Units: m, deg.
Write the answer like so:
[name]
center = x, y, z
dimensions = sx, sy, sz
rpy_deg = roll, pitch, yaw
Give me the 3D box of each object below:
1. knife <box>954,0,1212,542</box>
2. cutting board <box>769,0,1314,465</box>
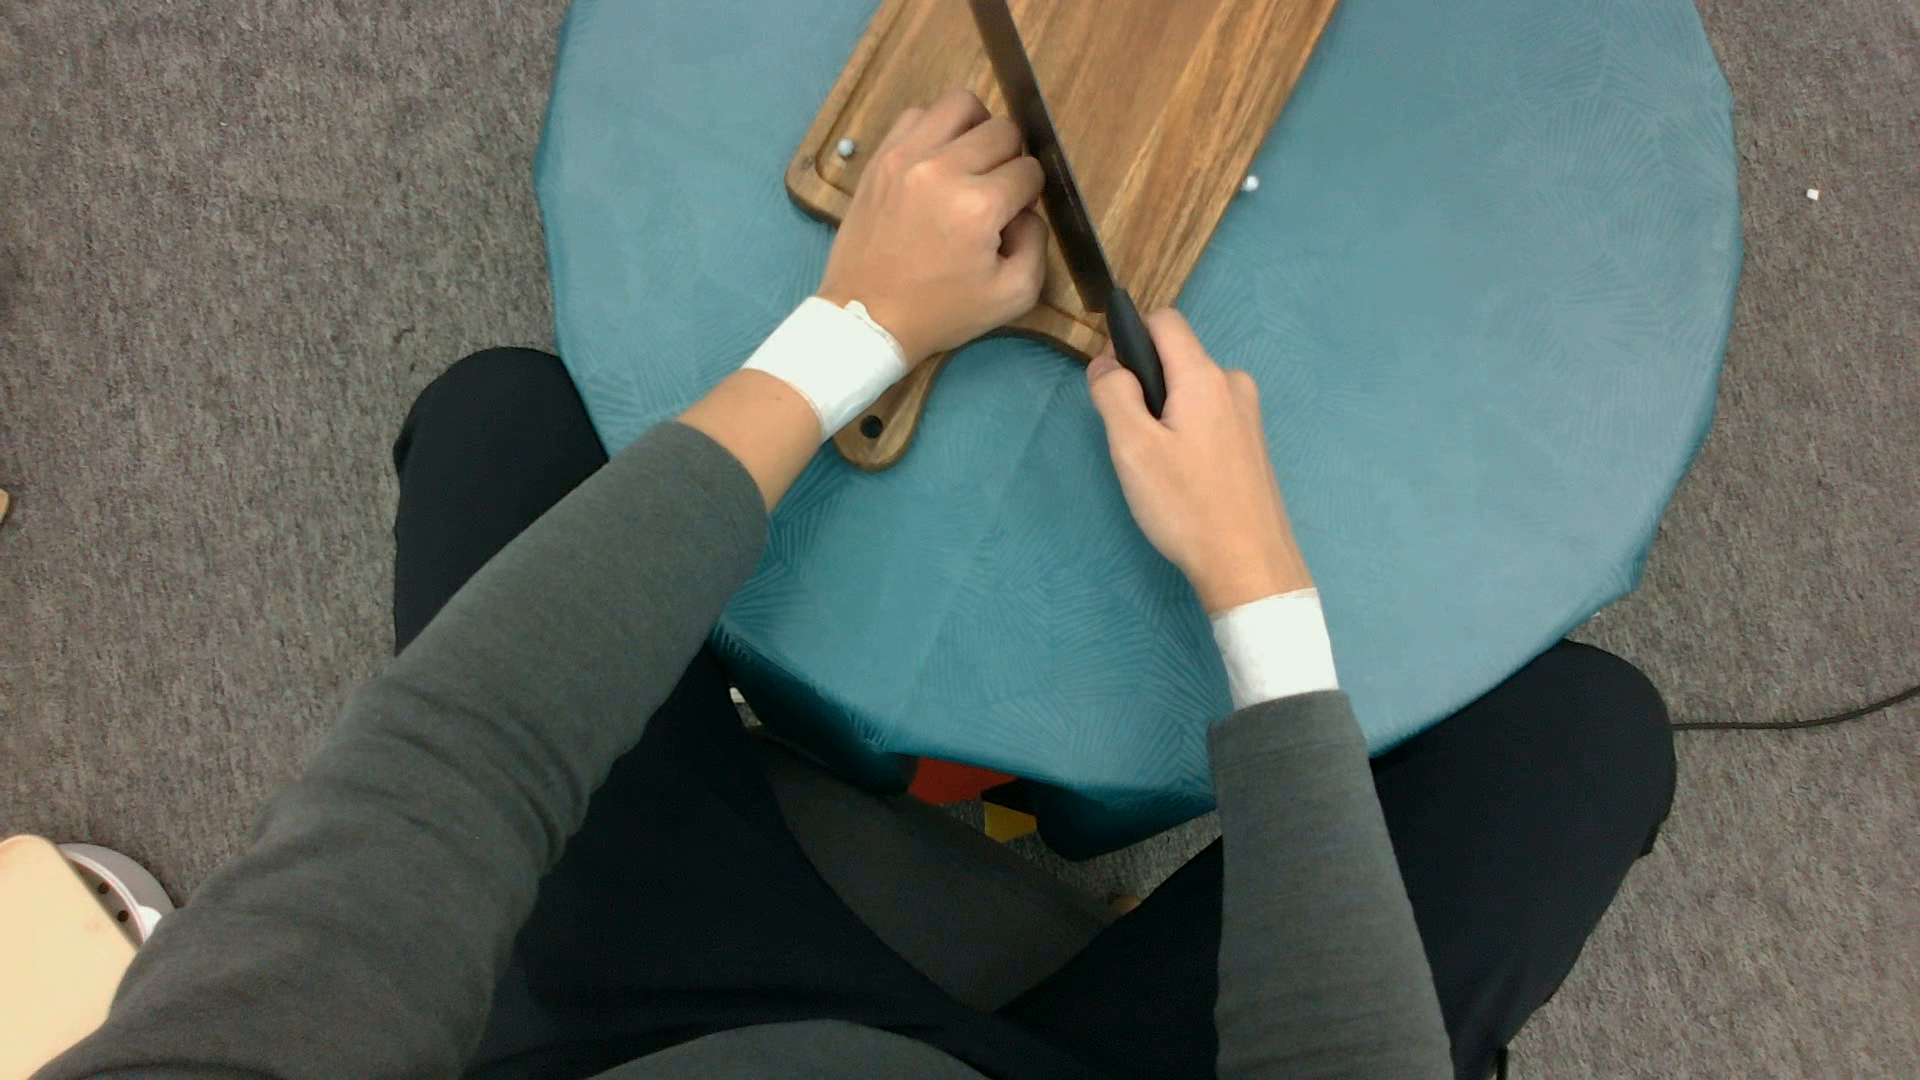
[knife]
center = 0.048, -0.137, 0.623
dimensions = 0.021, 0.081, 0.302
rpy_deg = -25, 97, -5
[cutting board]
center = 0.025, -0.194, 0.678
dimensions = 0.201, 0.023, 0.352
rpy_deg = 28, 84, 1
